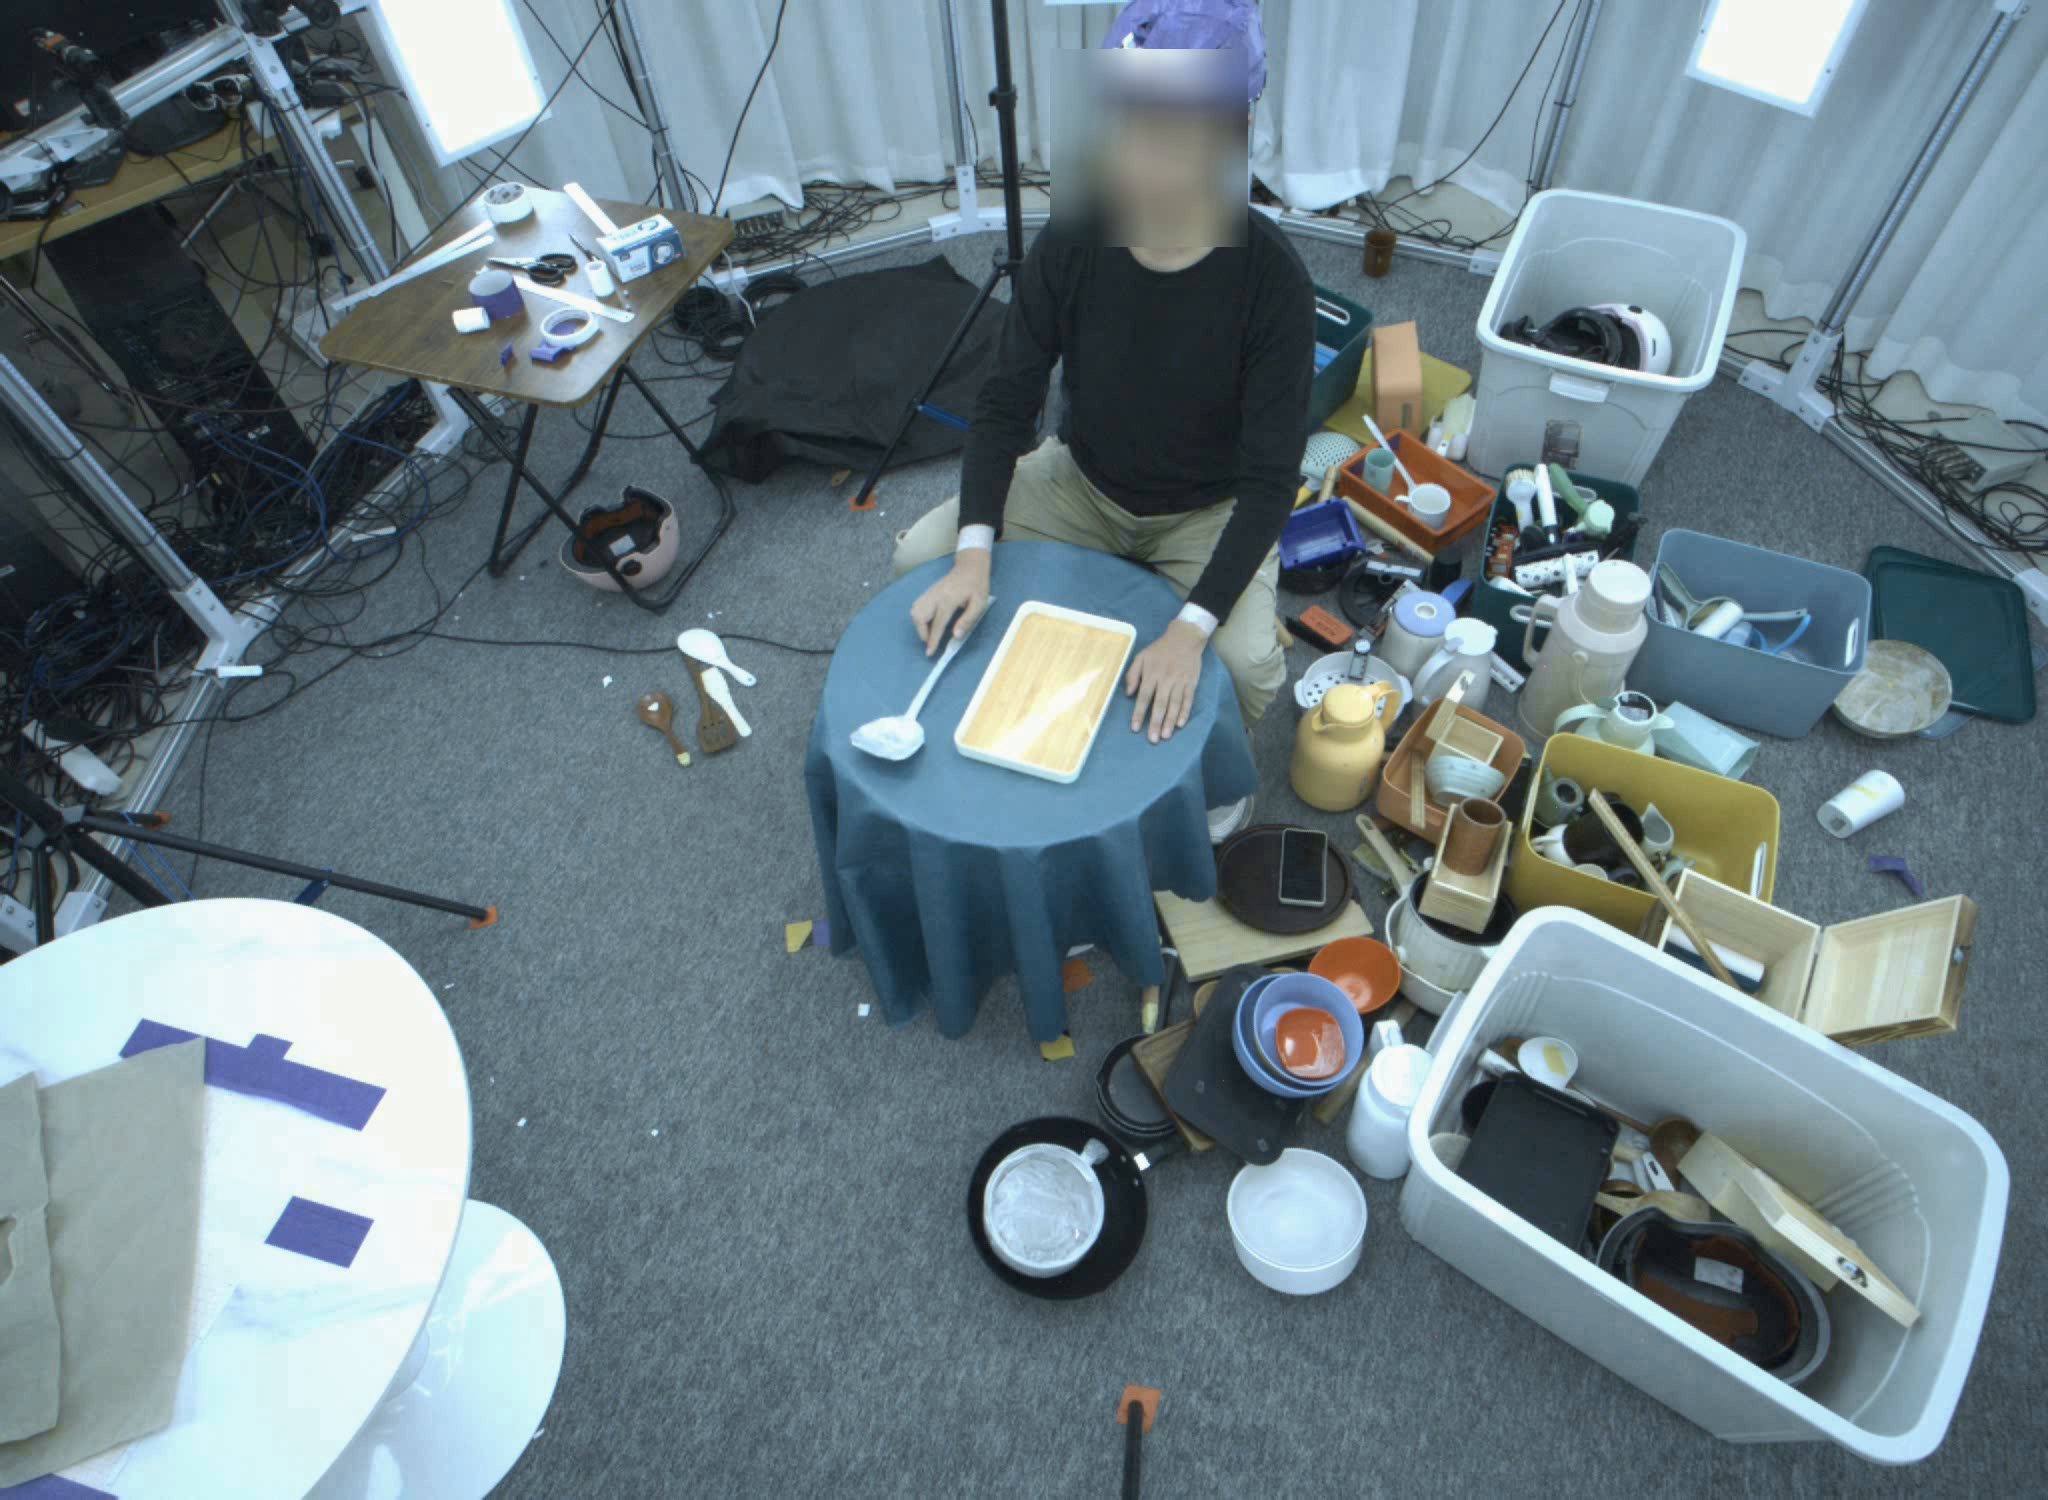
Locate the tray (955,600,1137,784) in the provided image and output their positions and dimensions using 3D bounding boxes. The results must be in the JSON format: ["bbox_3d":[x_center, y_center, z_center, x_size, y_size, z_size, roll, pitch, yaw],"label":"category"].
[{"bbox_3d":[0.037,-0.093,1.835,0.190,0.028,0.300,16,57,13],"label":"tray"}]

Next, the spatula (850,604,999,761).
[{"bbox_3d":[-0.133,-0.115,1.850,0.097,0.045,0.365,21,58,17],"label":"spatula"}]
